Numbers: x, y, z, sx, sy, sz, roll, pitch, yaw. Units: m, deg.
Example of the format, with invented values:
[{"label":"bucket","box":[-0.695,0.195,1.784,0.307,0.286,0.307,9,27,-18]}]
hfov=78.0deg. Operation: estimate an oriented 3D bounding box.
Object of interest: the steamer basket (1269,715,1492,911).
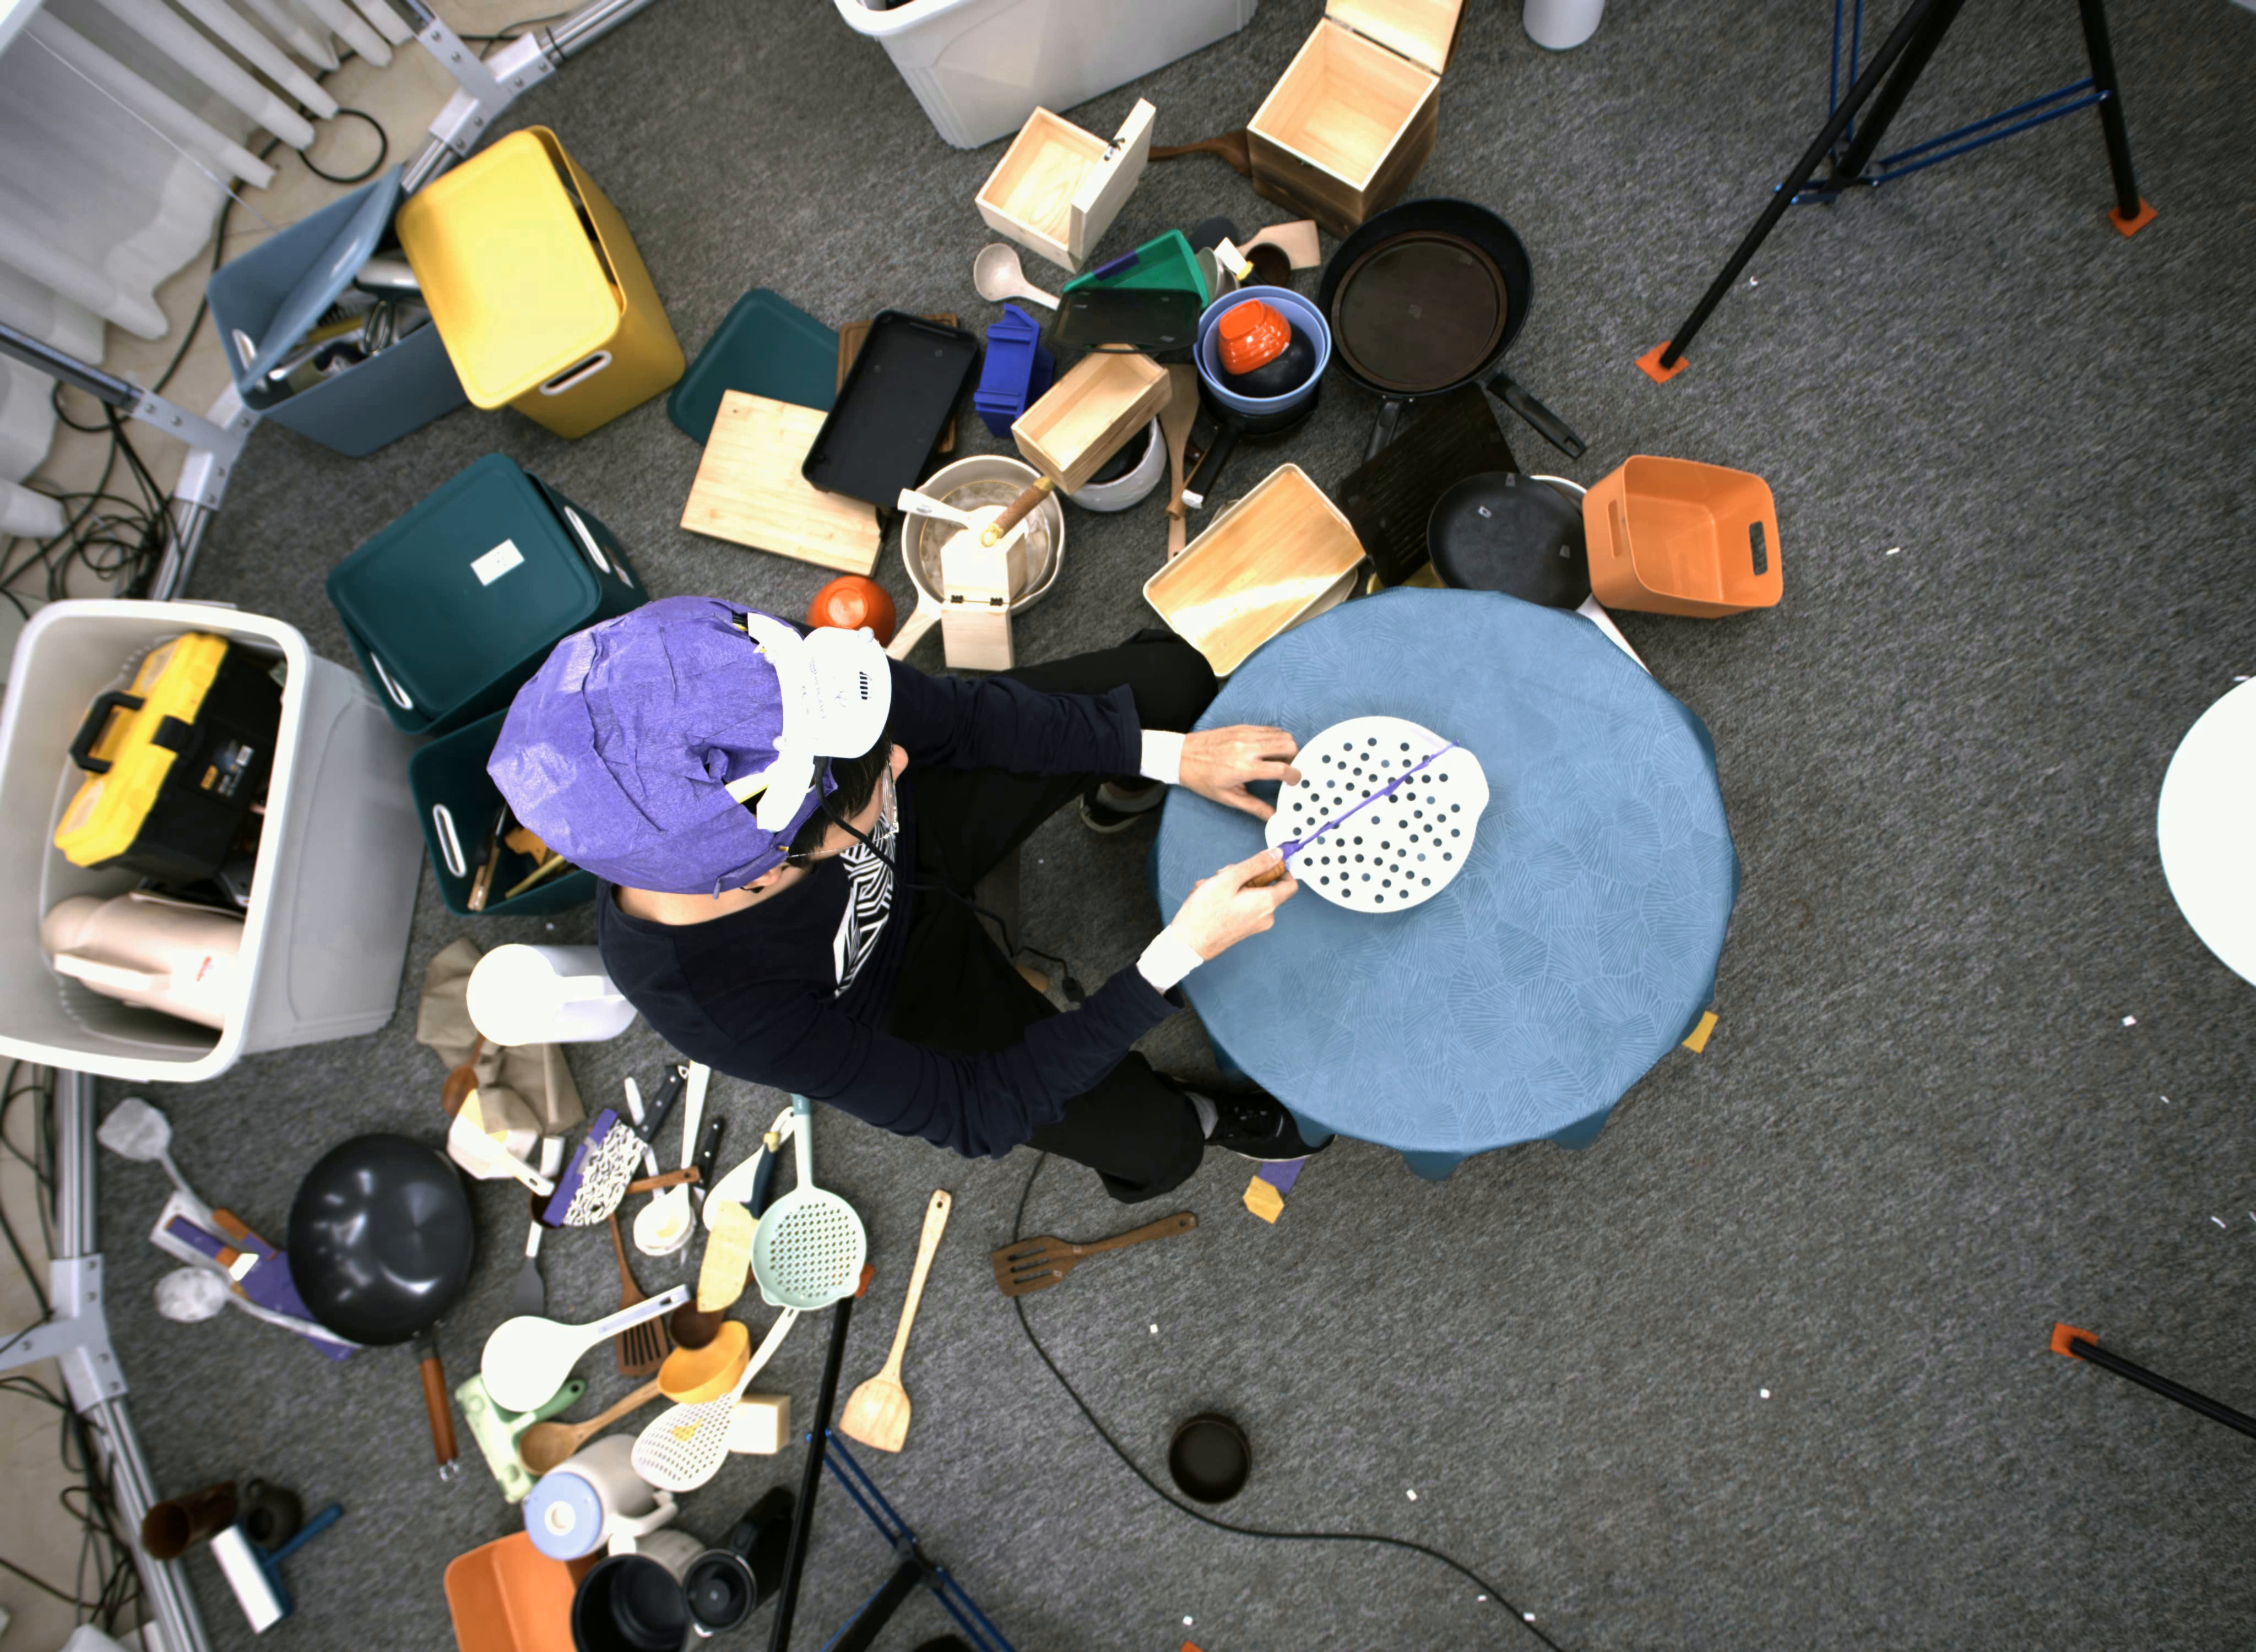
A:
[{"label":"steamer basket","box":[0.263,-0.012,1.433,0.232,0.069,0.200,-21,81,12]}]

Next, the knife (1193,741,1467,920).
[{"label":"knife","box":[0.198,0.005,1.369,0.313,0.105,0.032,-30,83,-9]}]
